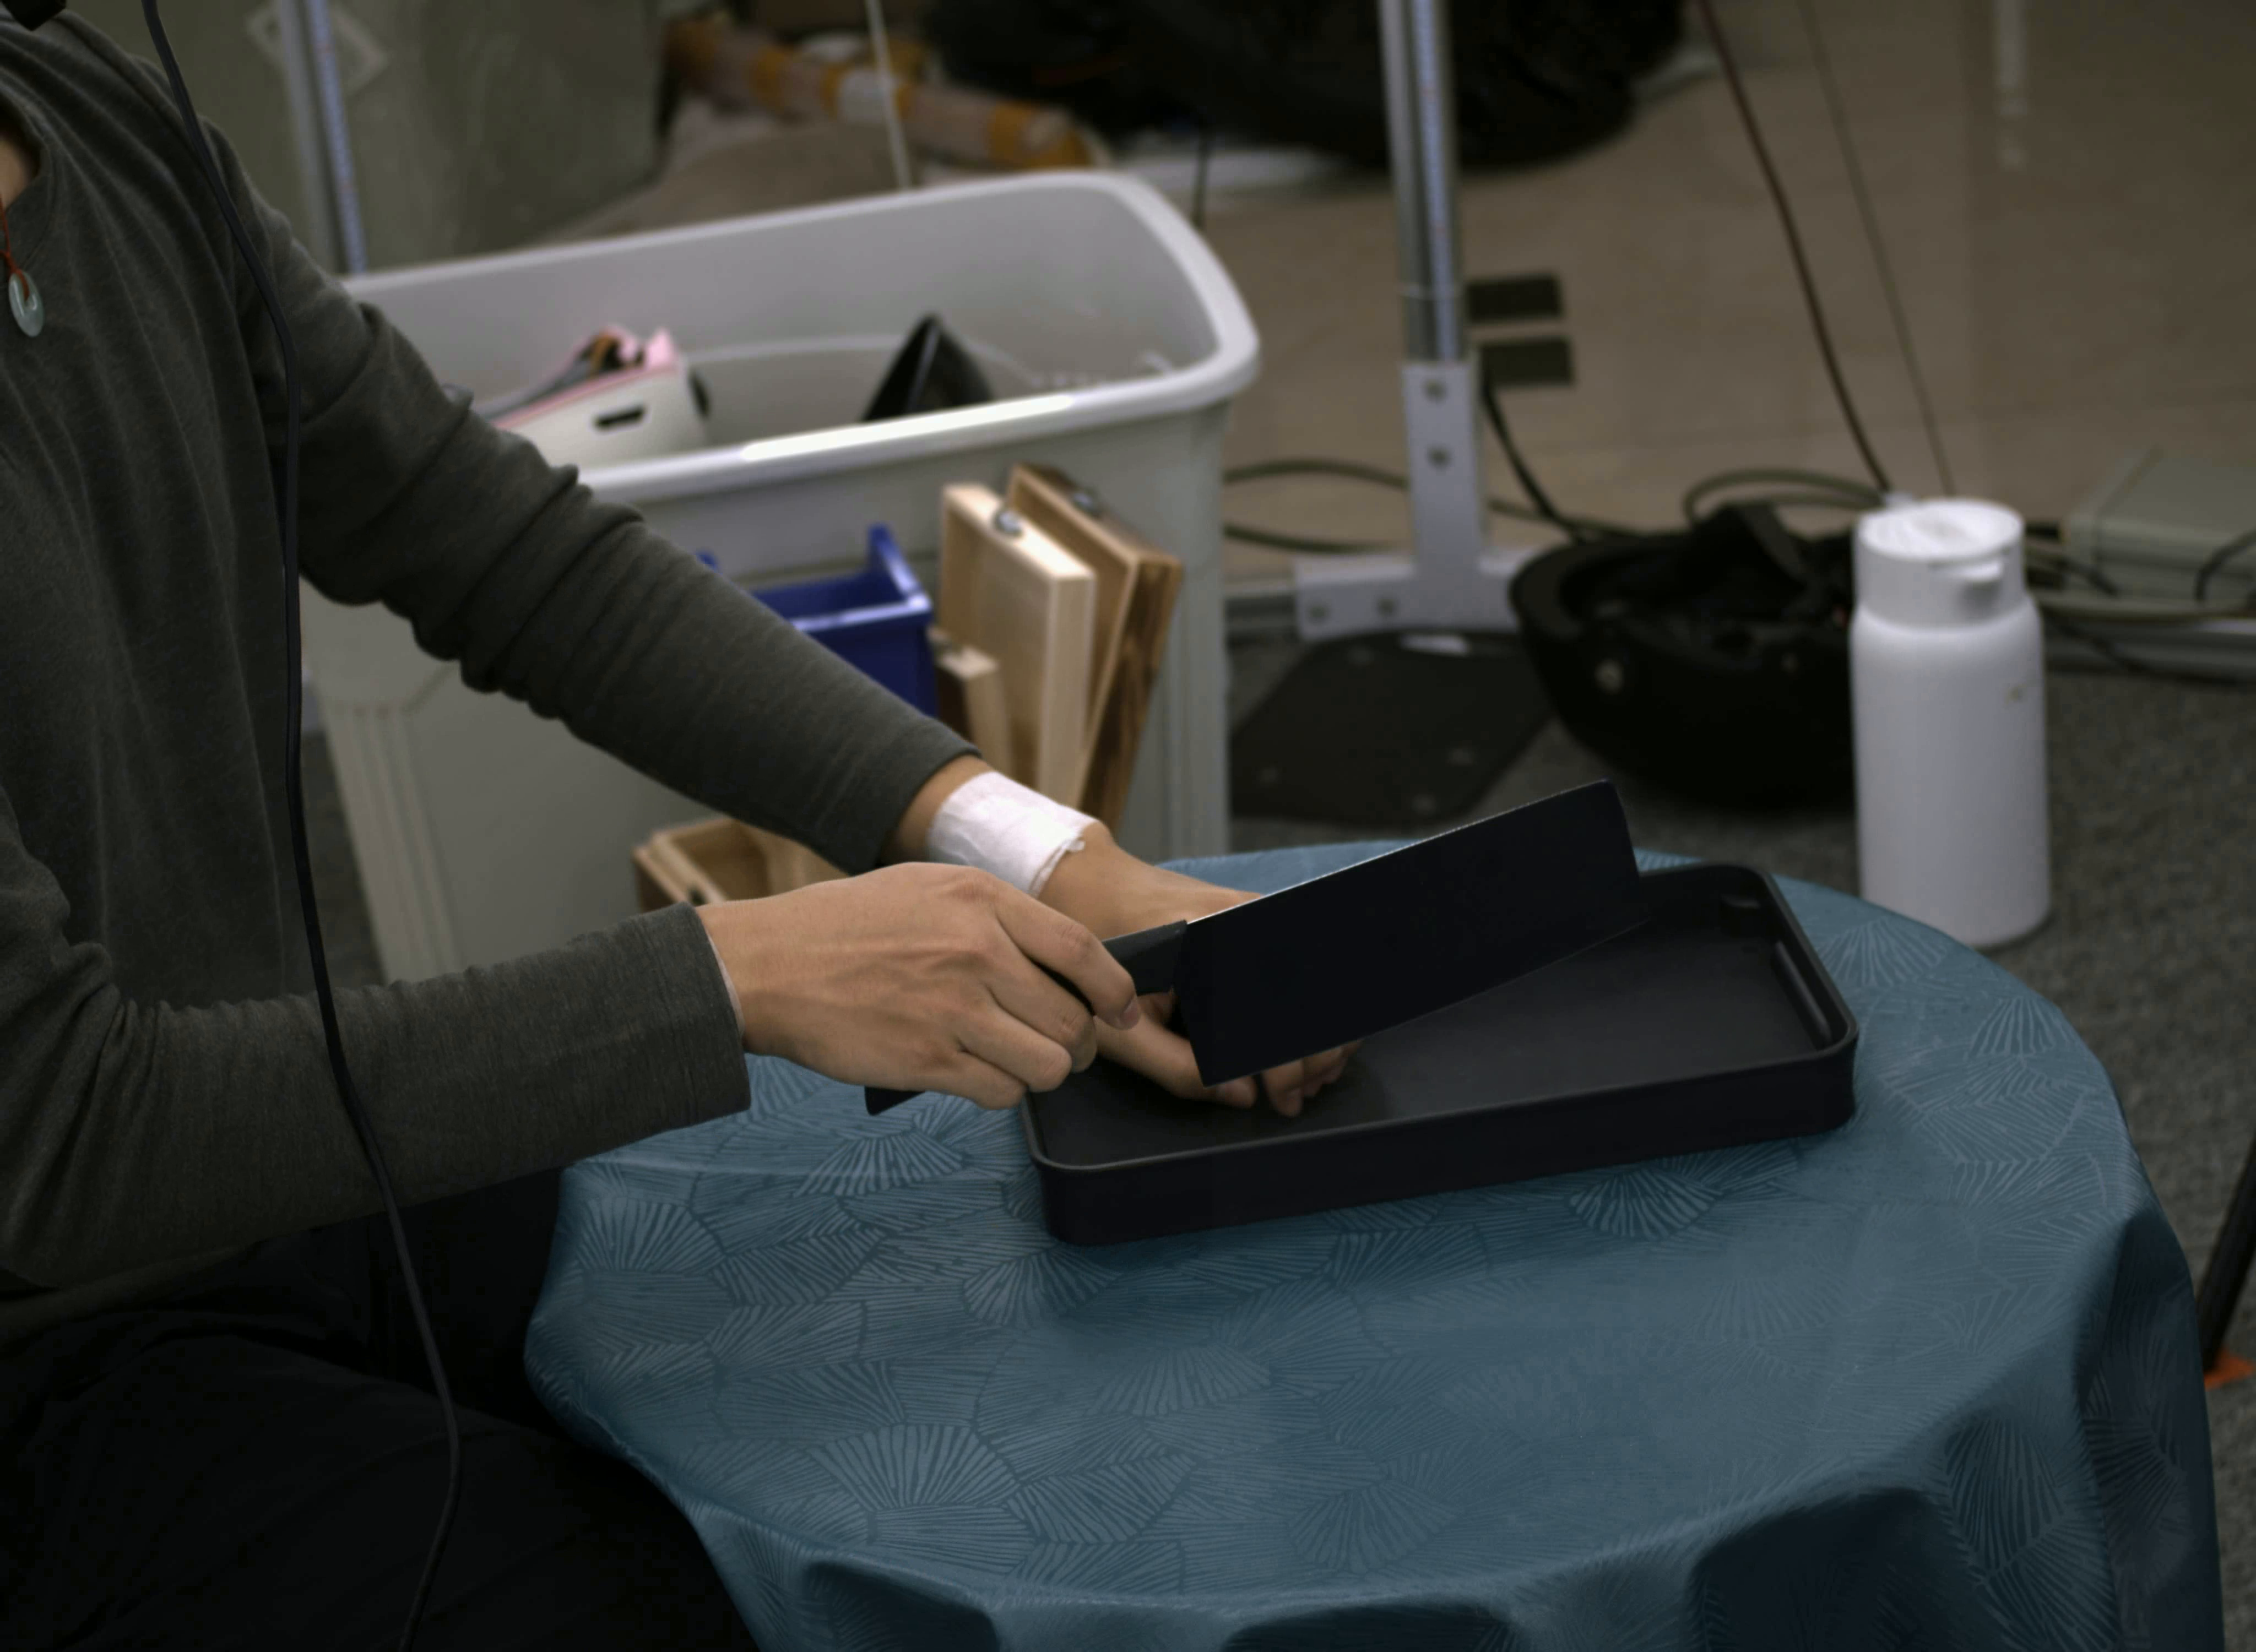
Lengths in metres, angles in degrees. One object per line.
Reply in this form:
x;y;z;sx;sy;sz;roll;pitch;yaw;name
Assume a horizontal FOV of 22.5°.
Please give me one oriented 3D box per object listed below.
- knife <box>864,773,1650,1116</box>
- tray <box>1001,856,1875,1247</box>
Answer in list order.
0.047;0.054;2.083;0.301;0.082;0.020;-15;20;-8;knife
0.116;0.085;2.197;0.317;0.037;0.181;-9;25;-6;tray
